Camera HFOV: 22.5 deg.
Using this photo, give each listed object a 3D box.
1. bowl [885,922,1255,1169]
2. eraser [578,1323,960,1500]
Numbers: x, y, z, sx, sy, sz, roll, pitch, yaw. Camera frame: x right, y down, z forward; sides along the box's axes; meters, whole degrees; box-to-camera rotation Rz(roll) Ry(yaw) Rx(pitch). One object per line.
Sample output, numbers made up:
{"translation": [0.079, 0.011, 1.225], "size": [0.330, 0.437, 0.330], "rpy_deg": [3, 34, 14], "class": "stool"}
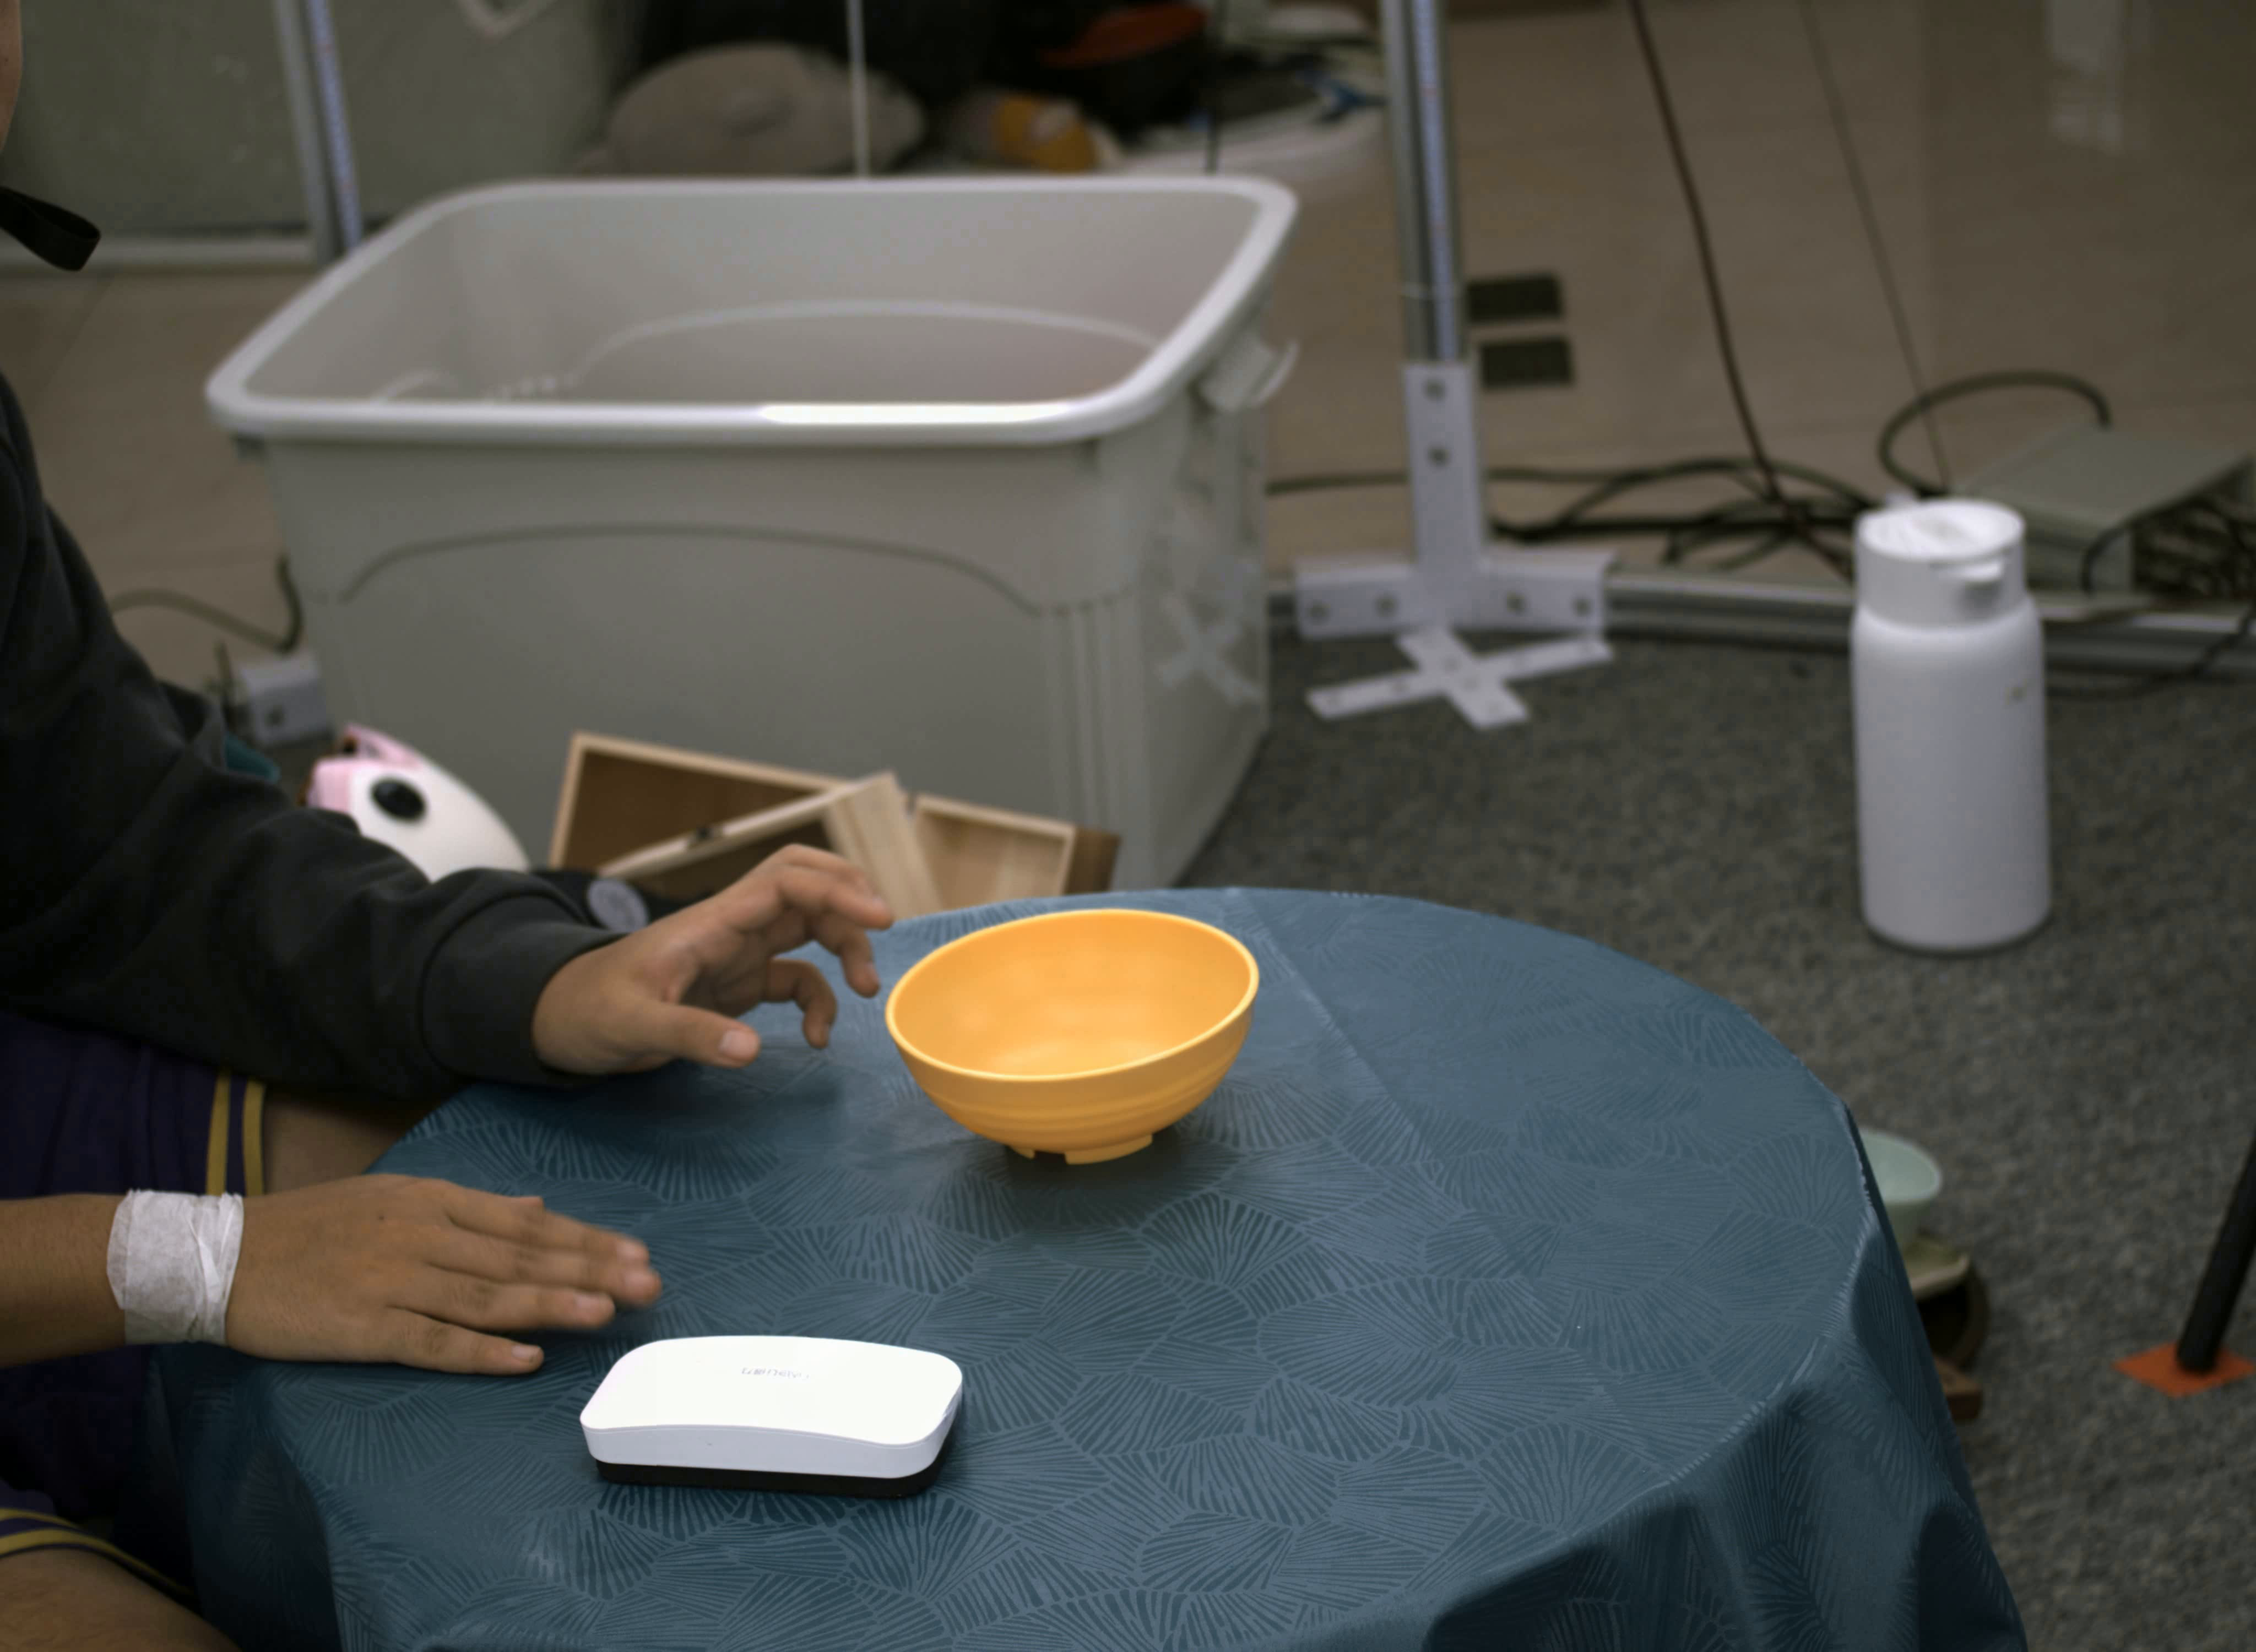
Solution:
{"translation": [-0.019, 0.092, 2.187], "size": [0.145, 0.061, 0.143], "rpy_deg": [-7, 23, 3], "class": "bowl"}
{"translation": [-0.125, 0.206, 1.996], "size": [0.131, 0.035, 0.062], "rpy_deg": [2, 26, 17], "class": "eraser"}
